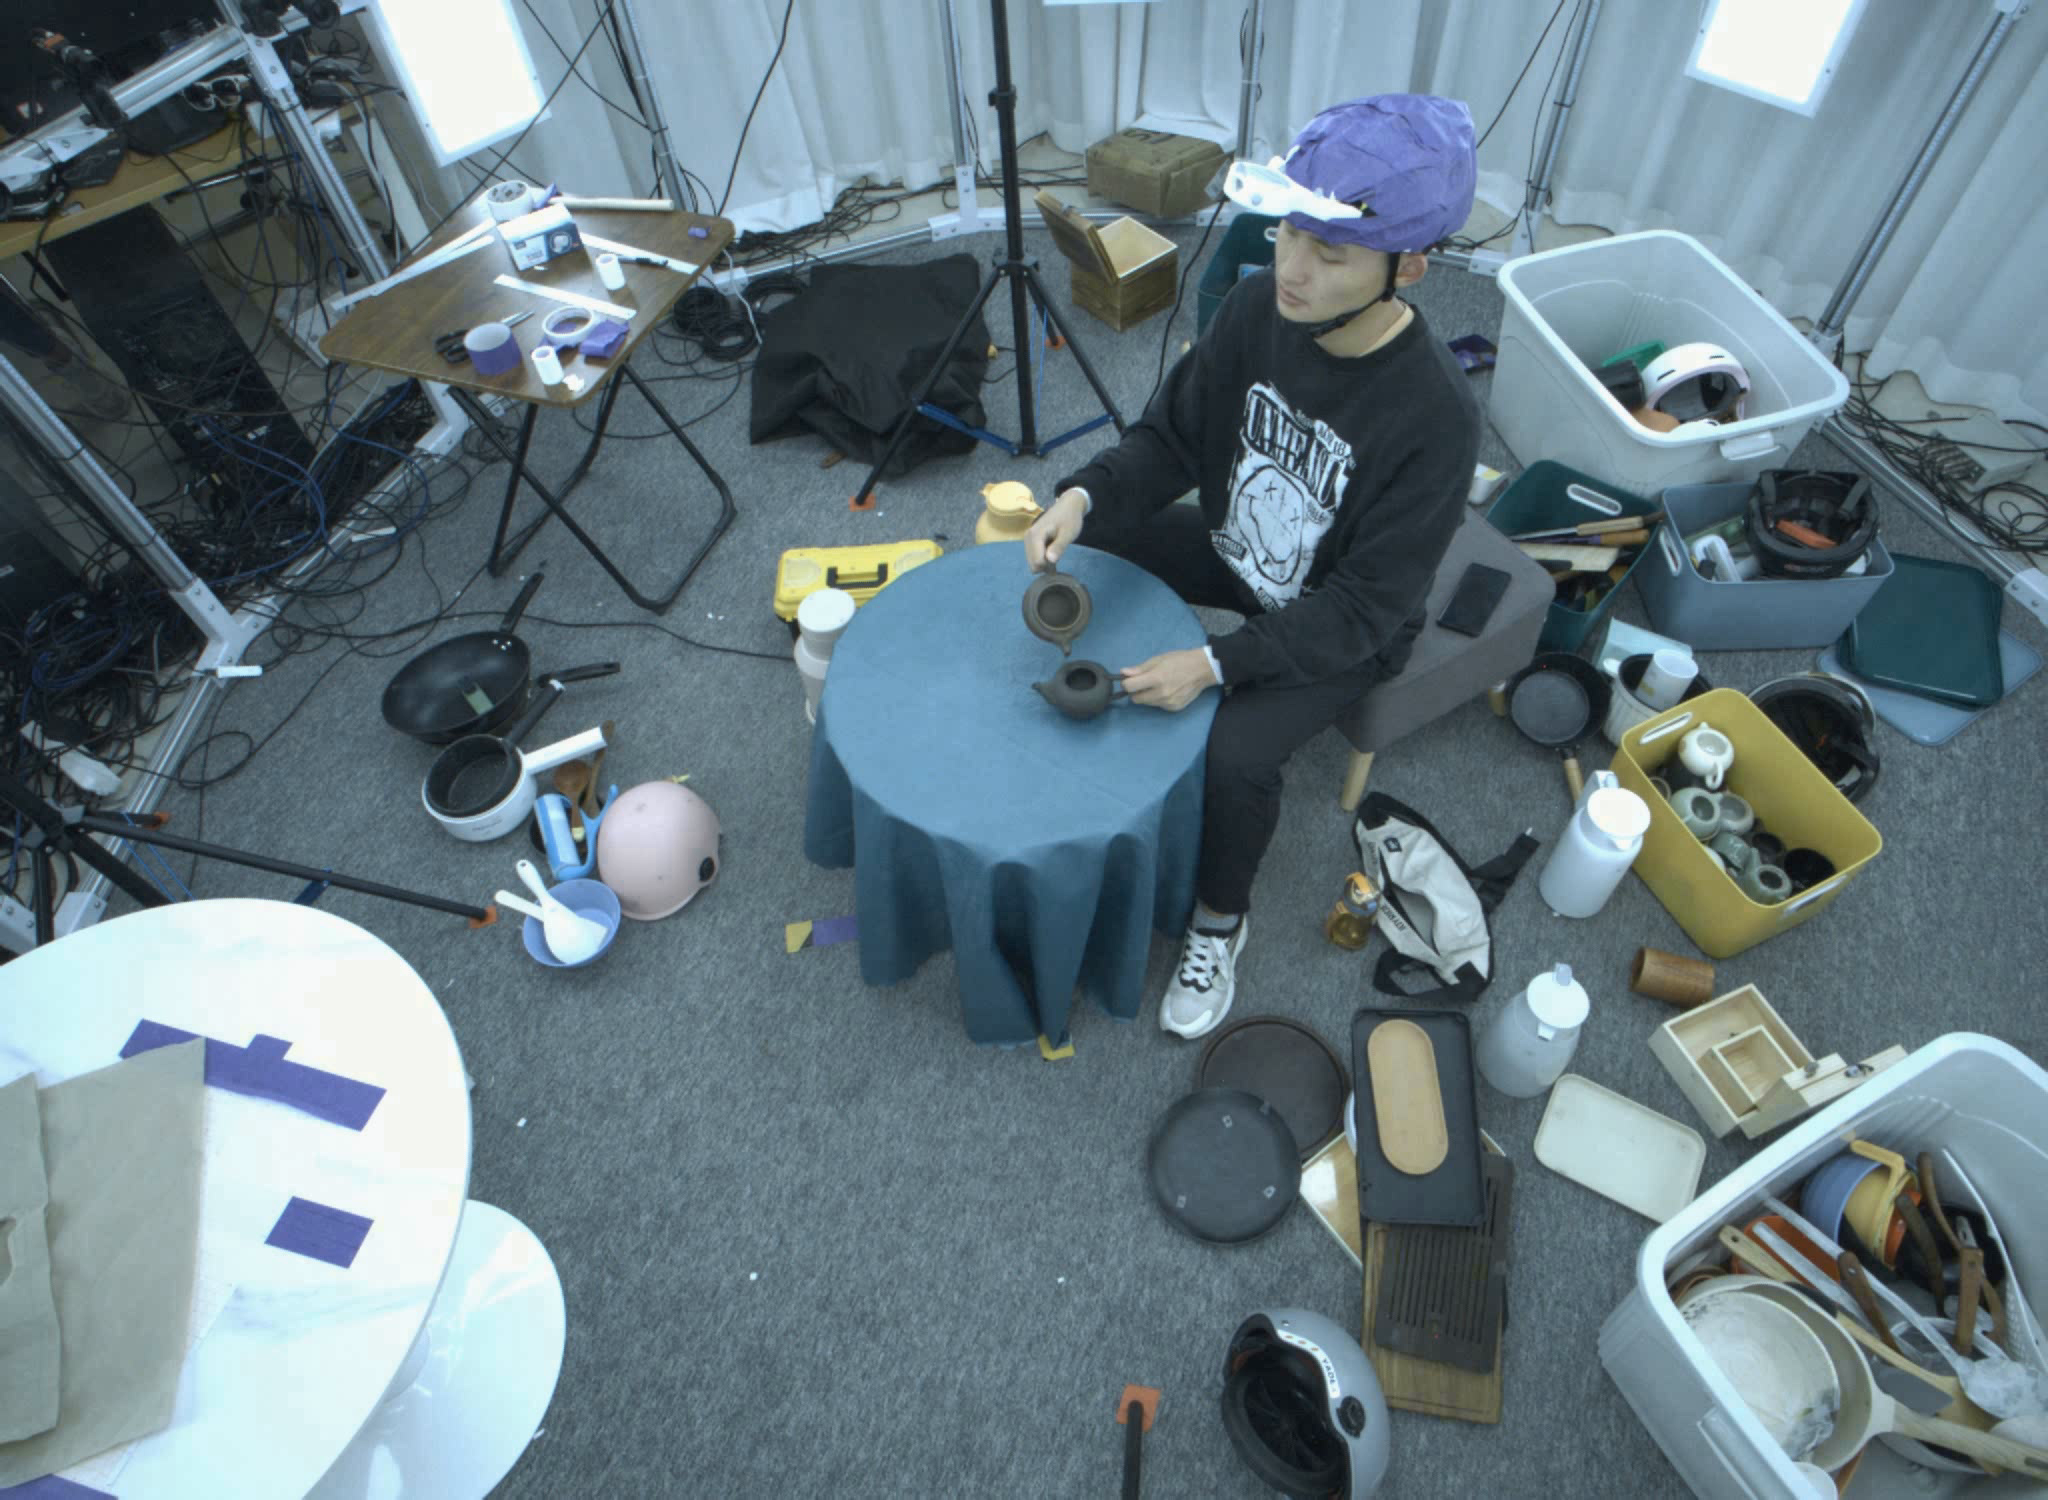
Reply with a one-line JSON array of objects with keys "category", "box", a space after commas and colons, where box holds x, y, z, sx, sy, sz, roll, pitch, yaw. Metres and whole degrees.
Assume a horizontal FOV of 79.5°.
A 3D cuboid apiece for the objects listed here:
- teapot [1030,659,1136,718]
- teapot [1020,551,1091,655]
[{"category": "teapot", "box": [0.087, -0.089, 1.803, 0.154, 0.065, 0.091, -5, 54, 1]}, {"category": "teapot", "box": [0.044, -0.212, 1.775, 0.103, 0.053, 0.154, -16, 95, -8]}]
